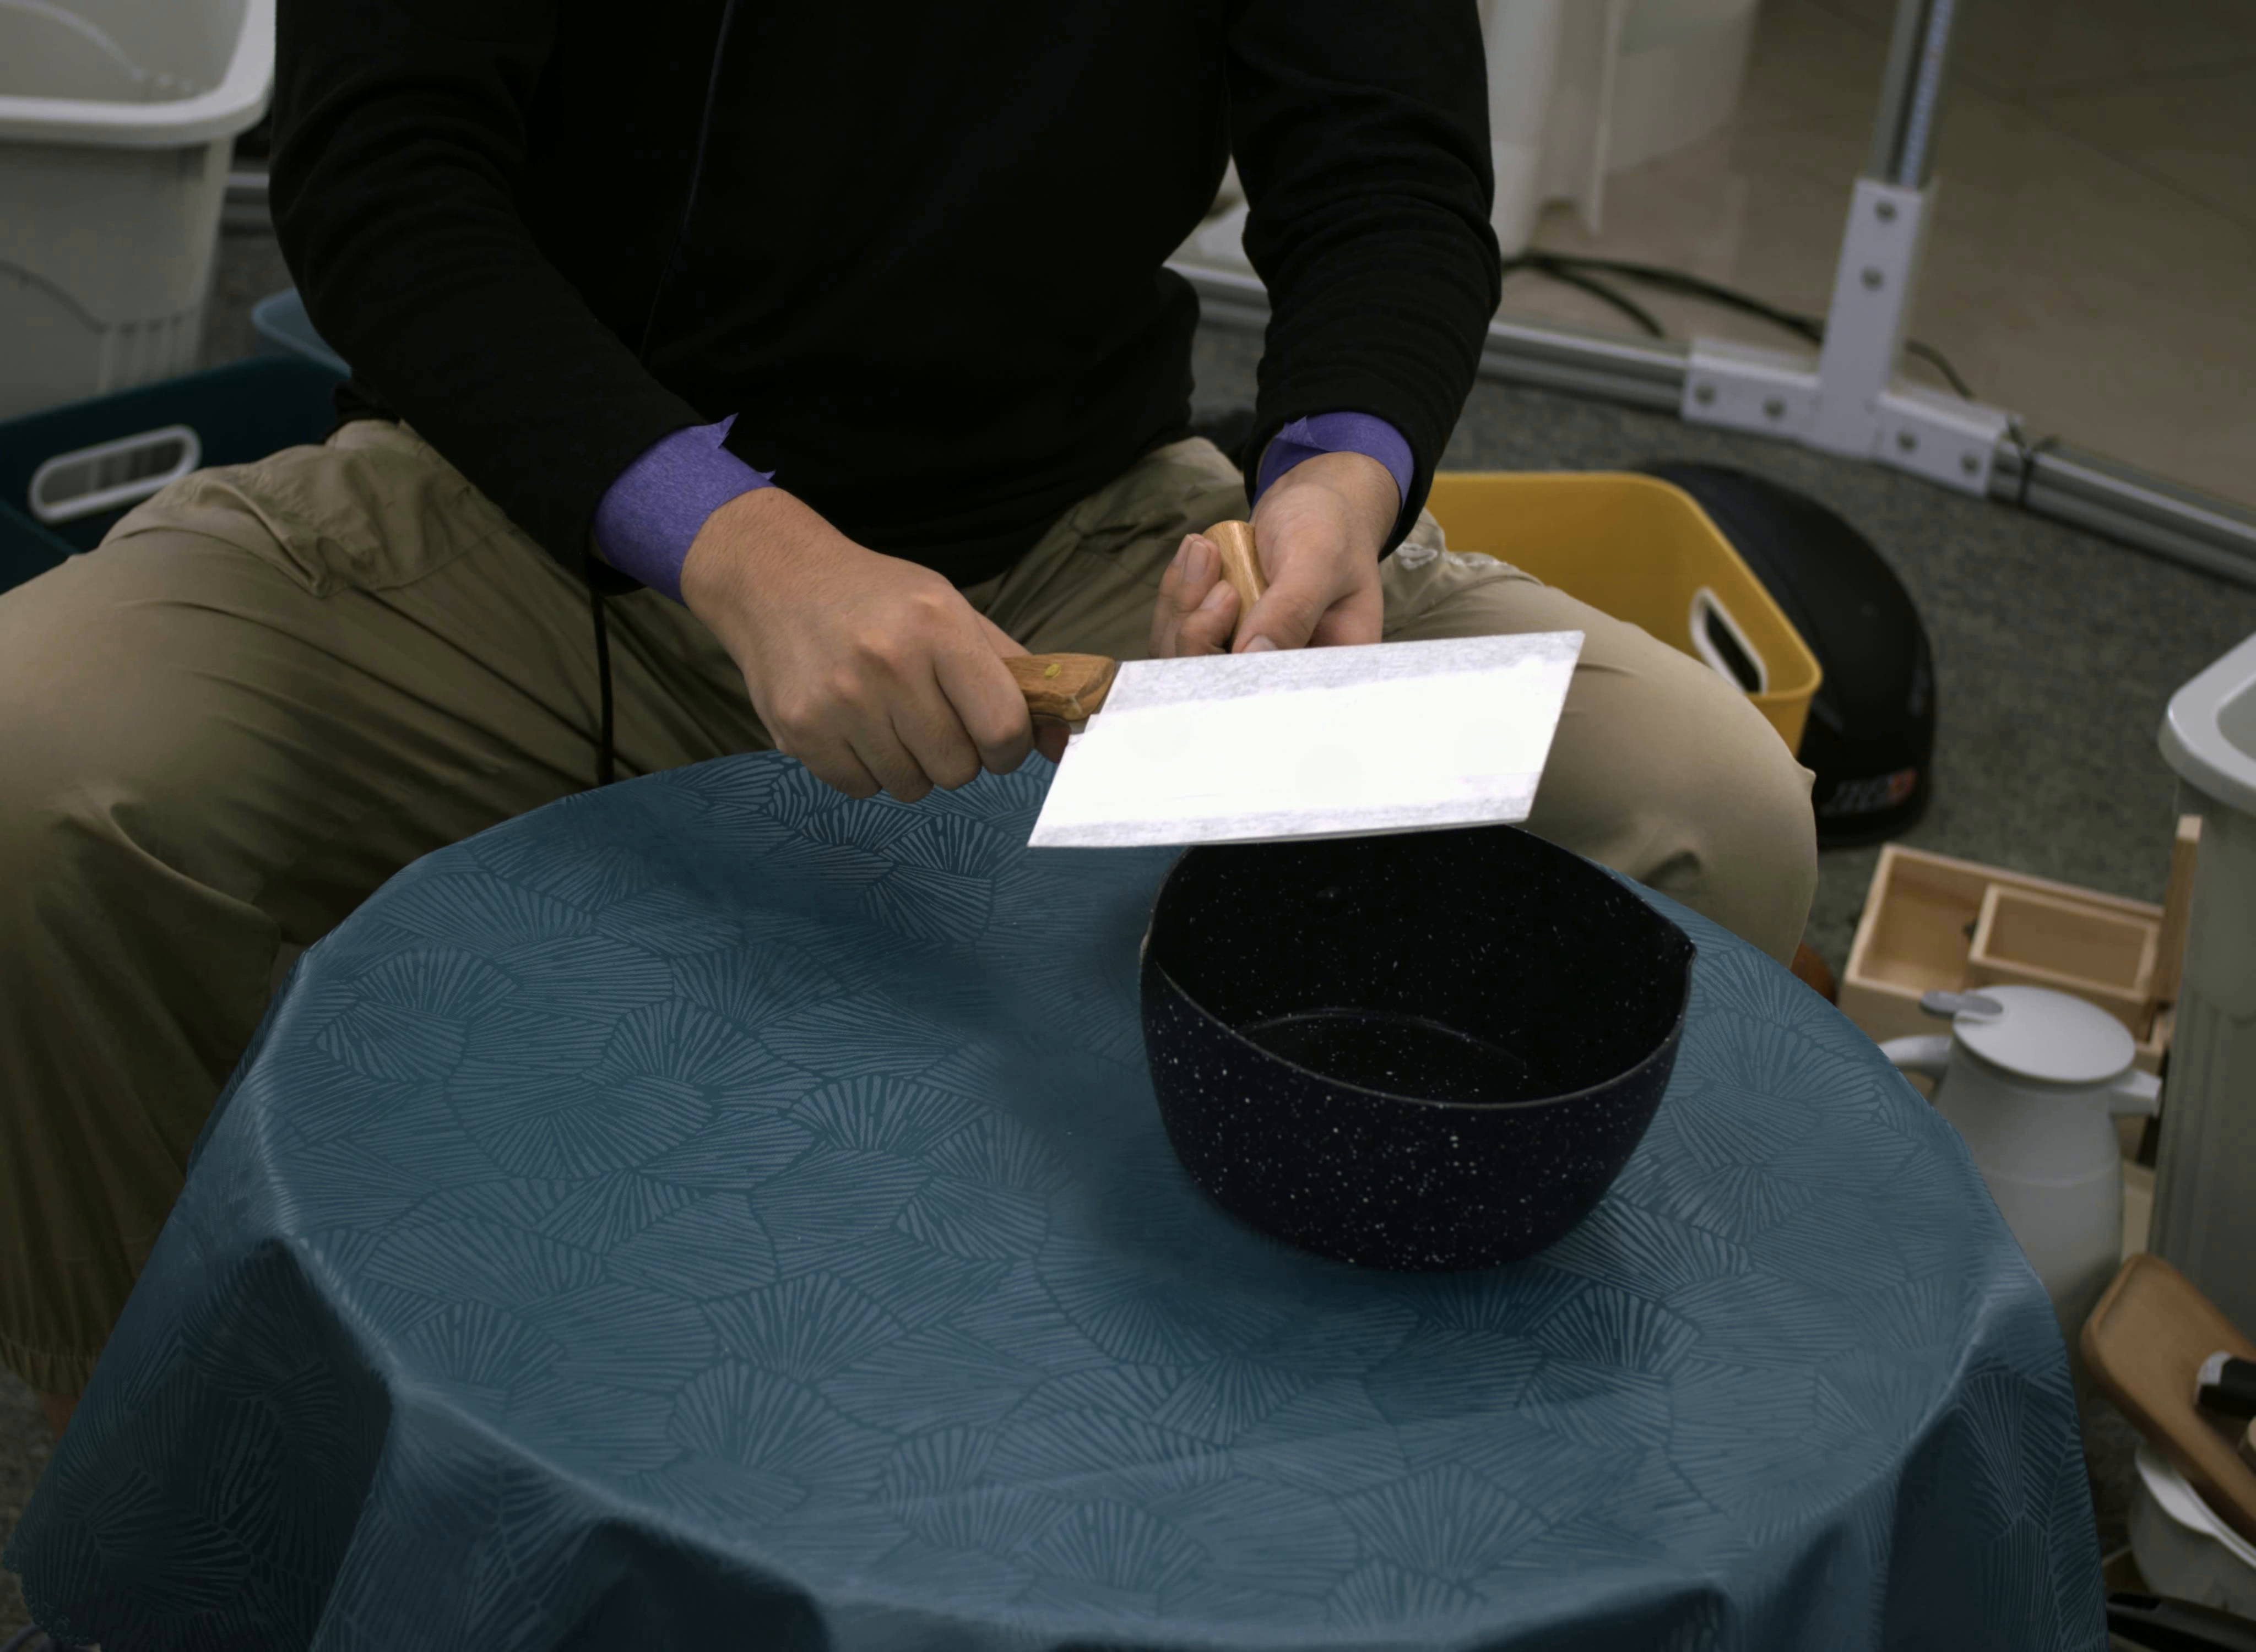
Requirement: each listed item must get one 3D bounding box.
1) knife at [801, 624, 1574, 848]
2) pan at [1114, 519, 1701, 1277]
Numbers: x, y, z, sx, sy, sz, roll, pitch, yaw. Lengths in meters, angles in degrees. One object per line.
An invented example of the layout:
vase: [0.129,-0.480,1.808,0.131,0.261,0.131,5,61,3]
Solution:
knife: [0.011,-0.029,1.873,0.306,0.021,0.093,-3,46,28]
pan: [0.072,0.023,1.874,0.206,0.108,0.346,-2,34,-18]
